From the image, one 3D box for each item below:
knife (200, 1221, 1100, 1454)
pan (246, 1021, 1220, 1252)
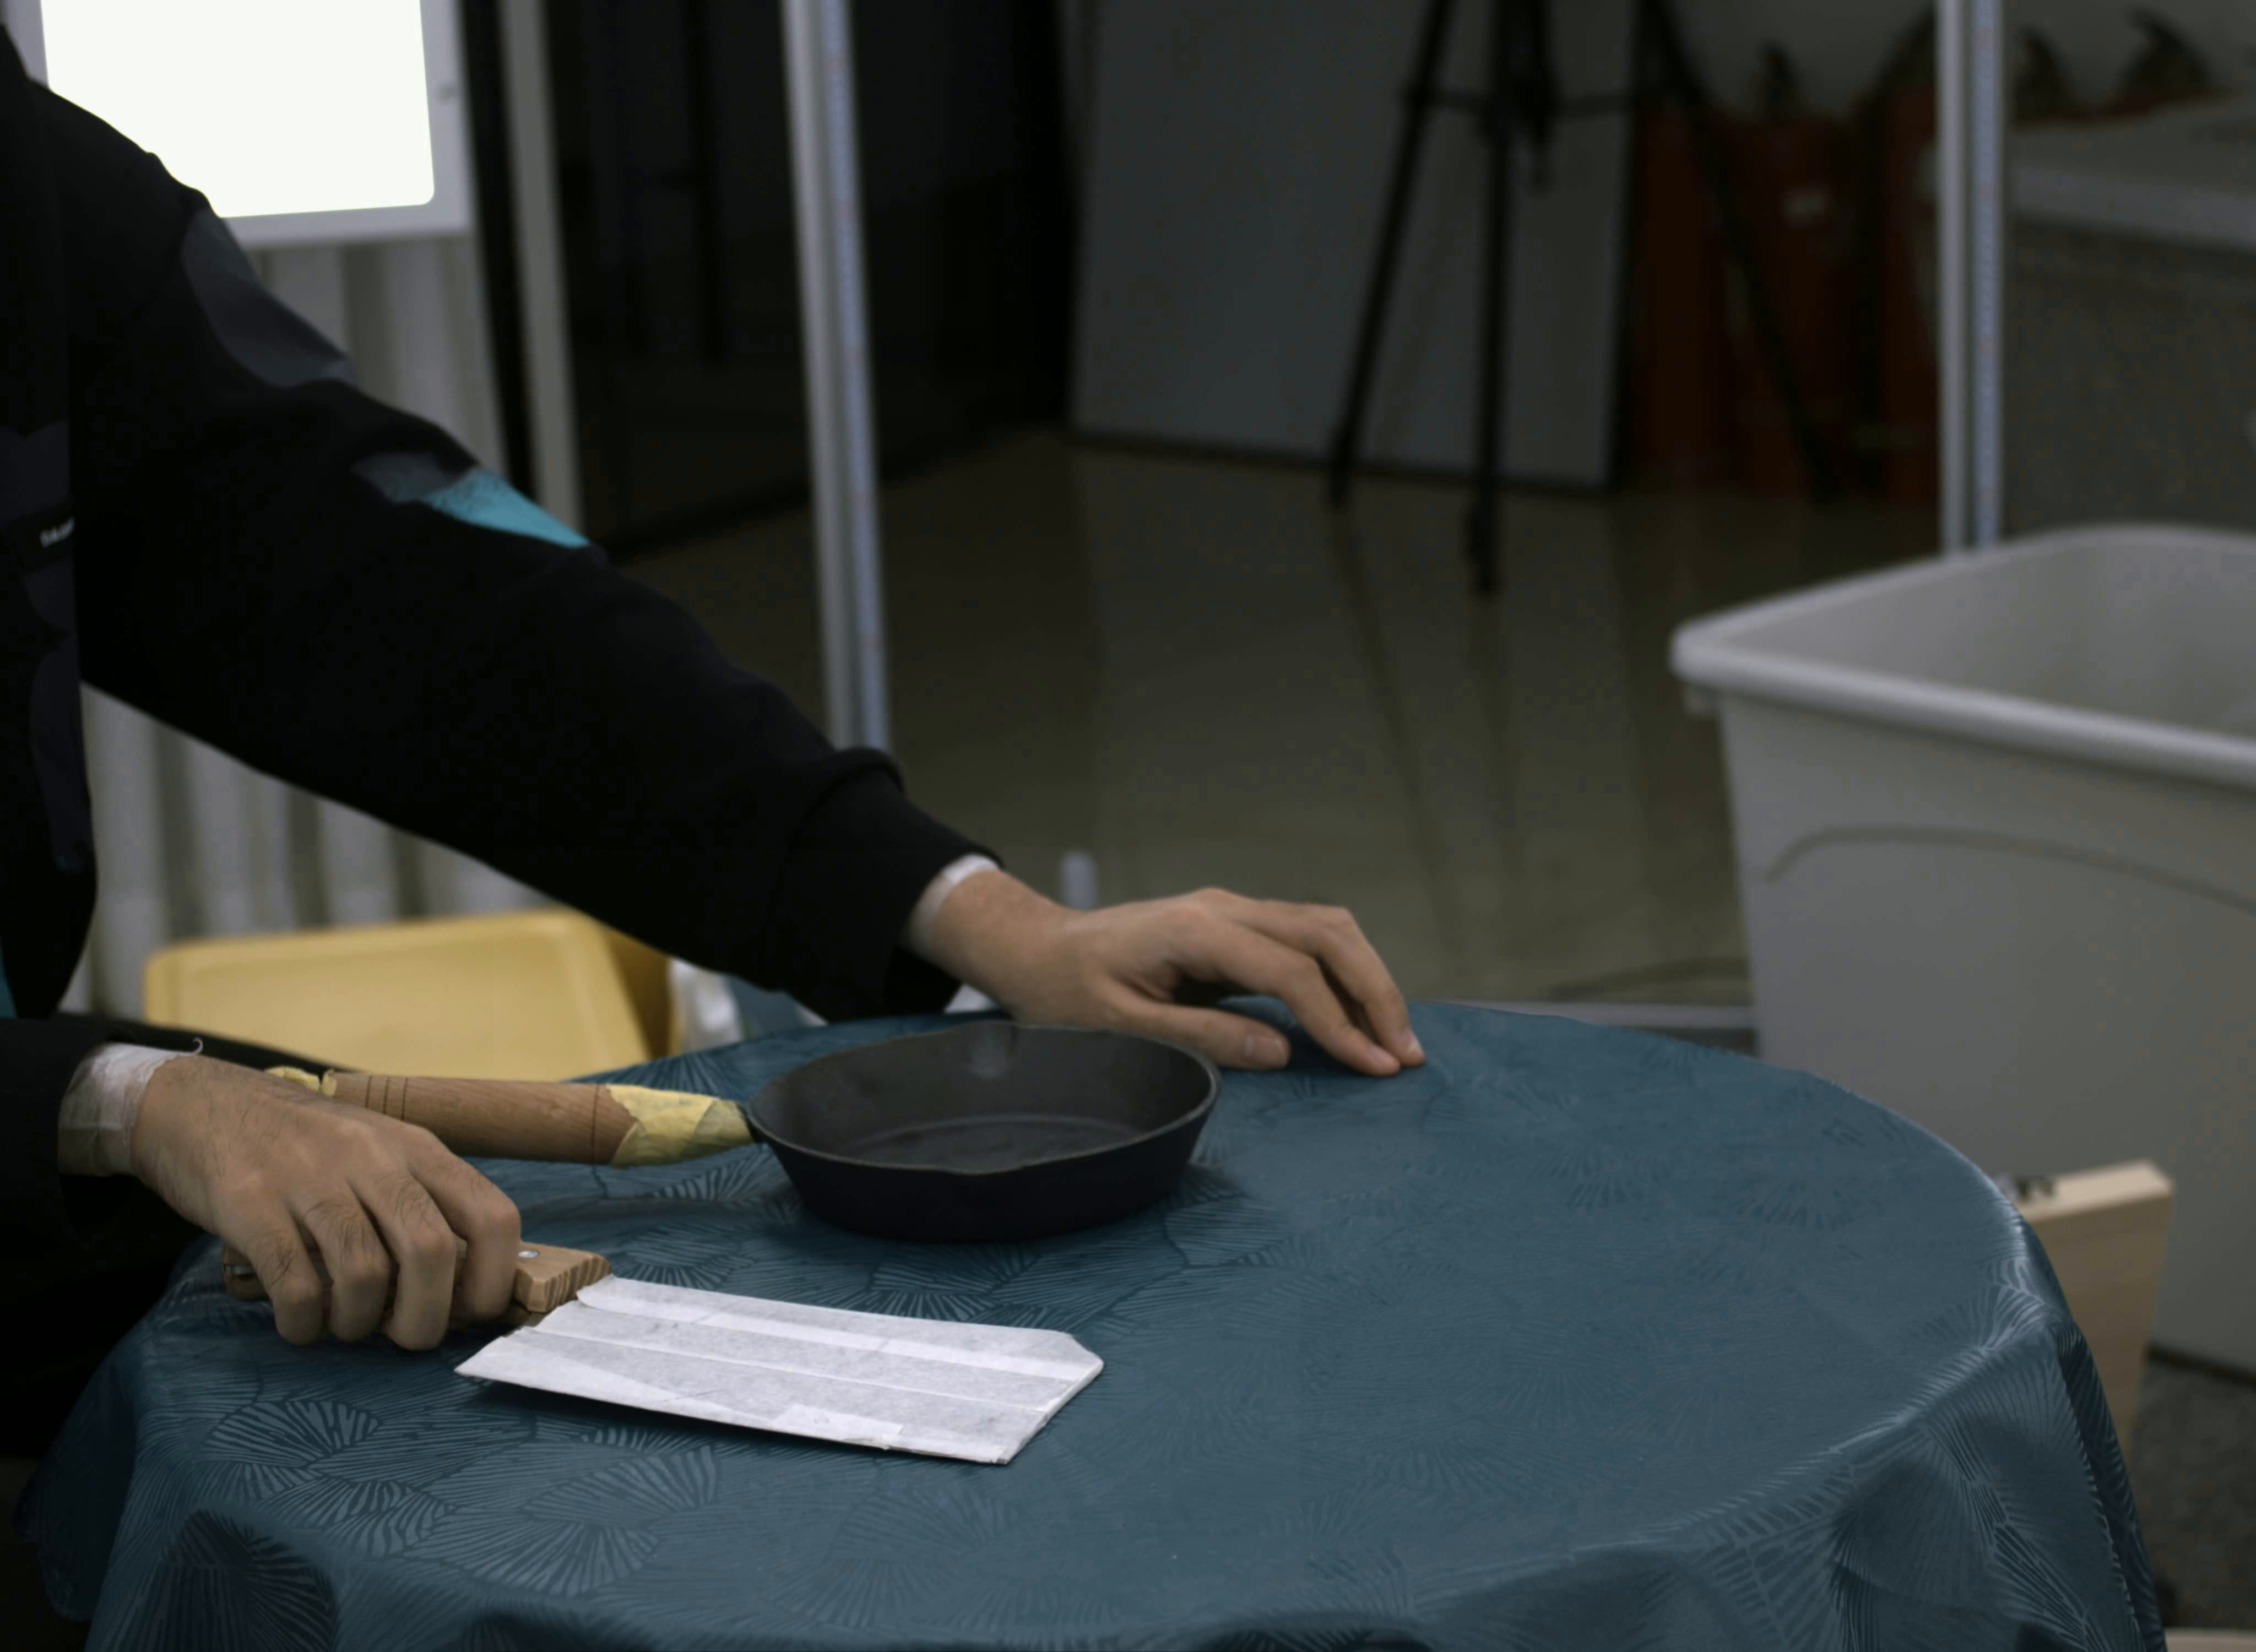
[{"bbox_3d":[-0.151,0.154,1.645,0.316,0.022,0.112,7,18,29],"label":"knife"},{"bbox_3d":[-0.129,0.102,1.784,0.320,0.050,0.169,-3,14,2],"label":"pan"}]
